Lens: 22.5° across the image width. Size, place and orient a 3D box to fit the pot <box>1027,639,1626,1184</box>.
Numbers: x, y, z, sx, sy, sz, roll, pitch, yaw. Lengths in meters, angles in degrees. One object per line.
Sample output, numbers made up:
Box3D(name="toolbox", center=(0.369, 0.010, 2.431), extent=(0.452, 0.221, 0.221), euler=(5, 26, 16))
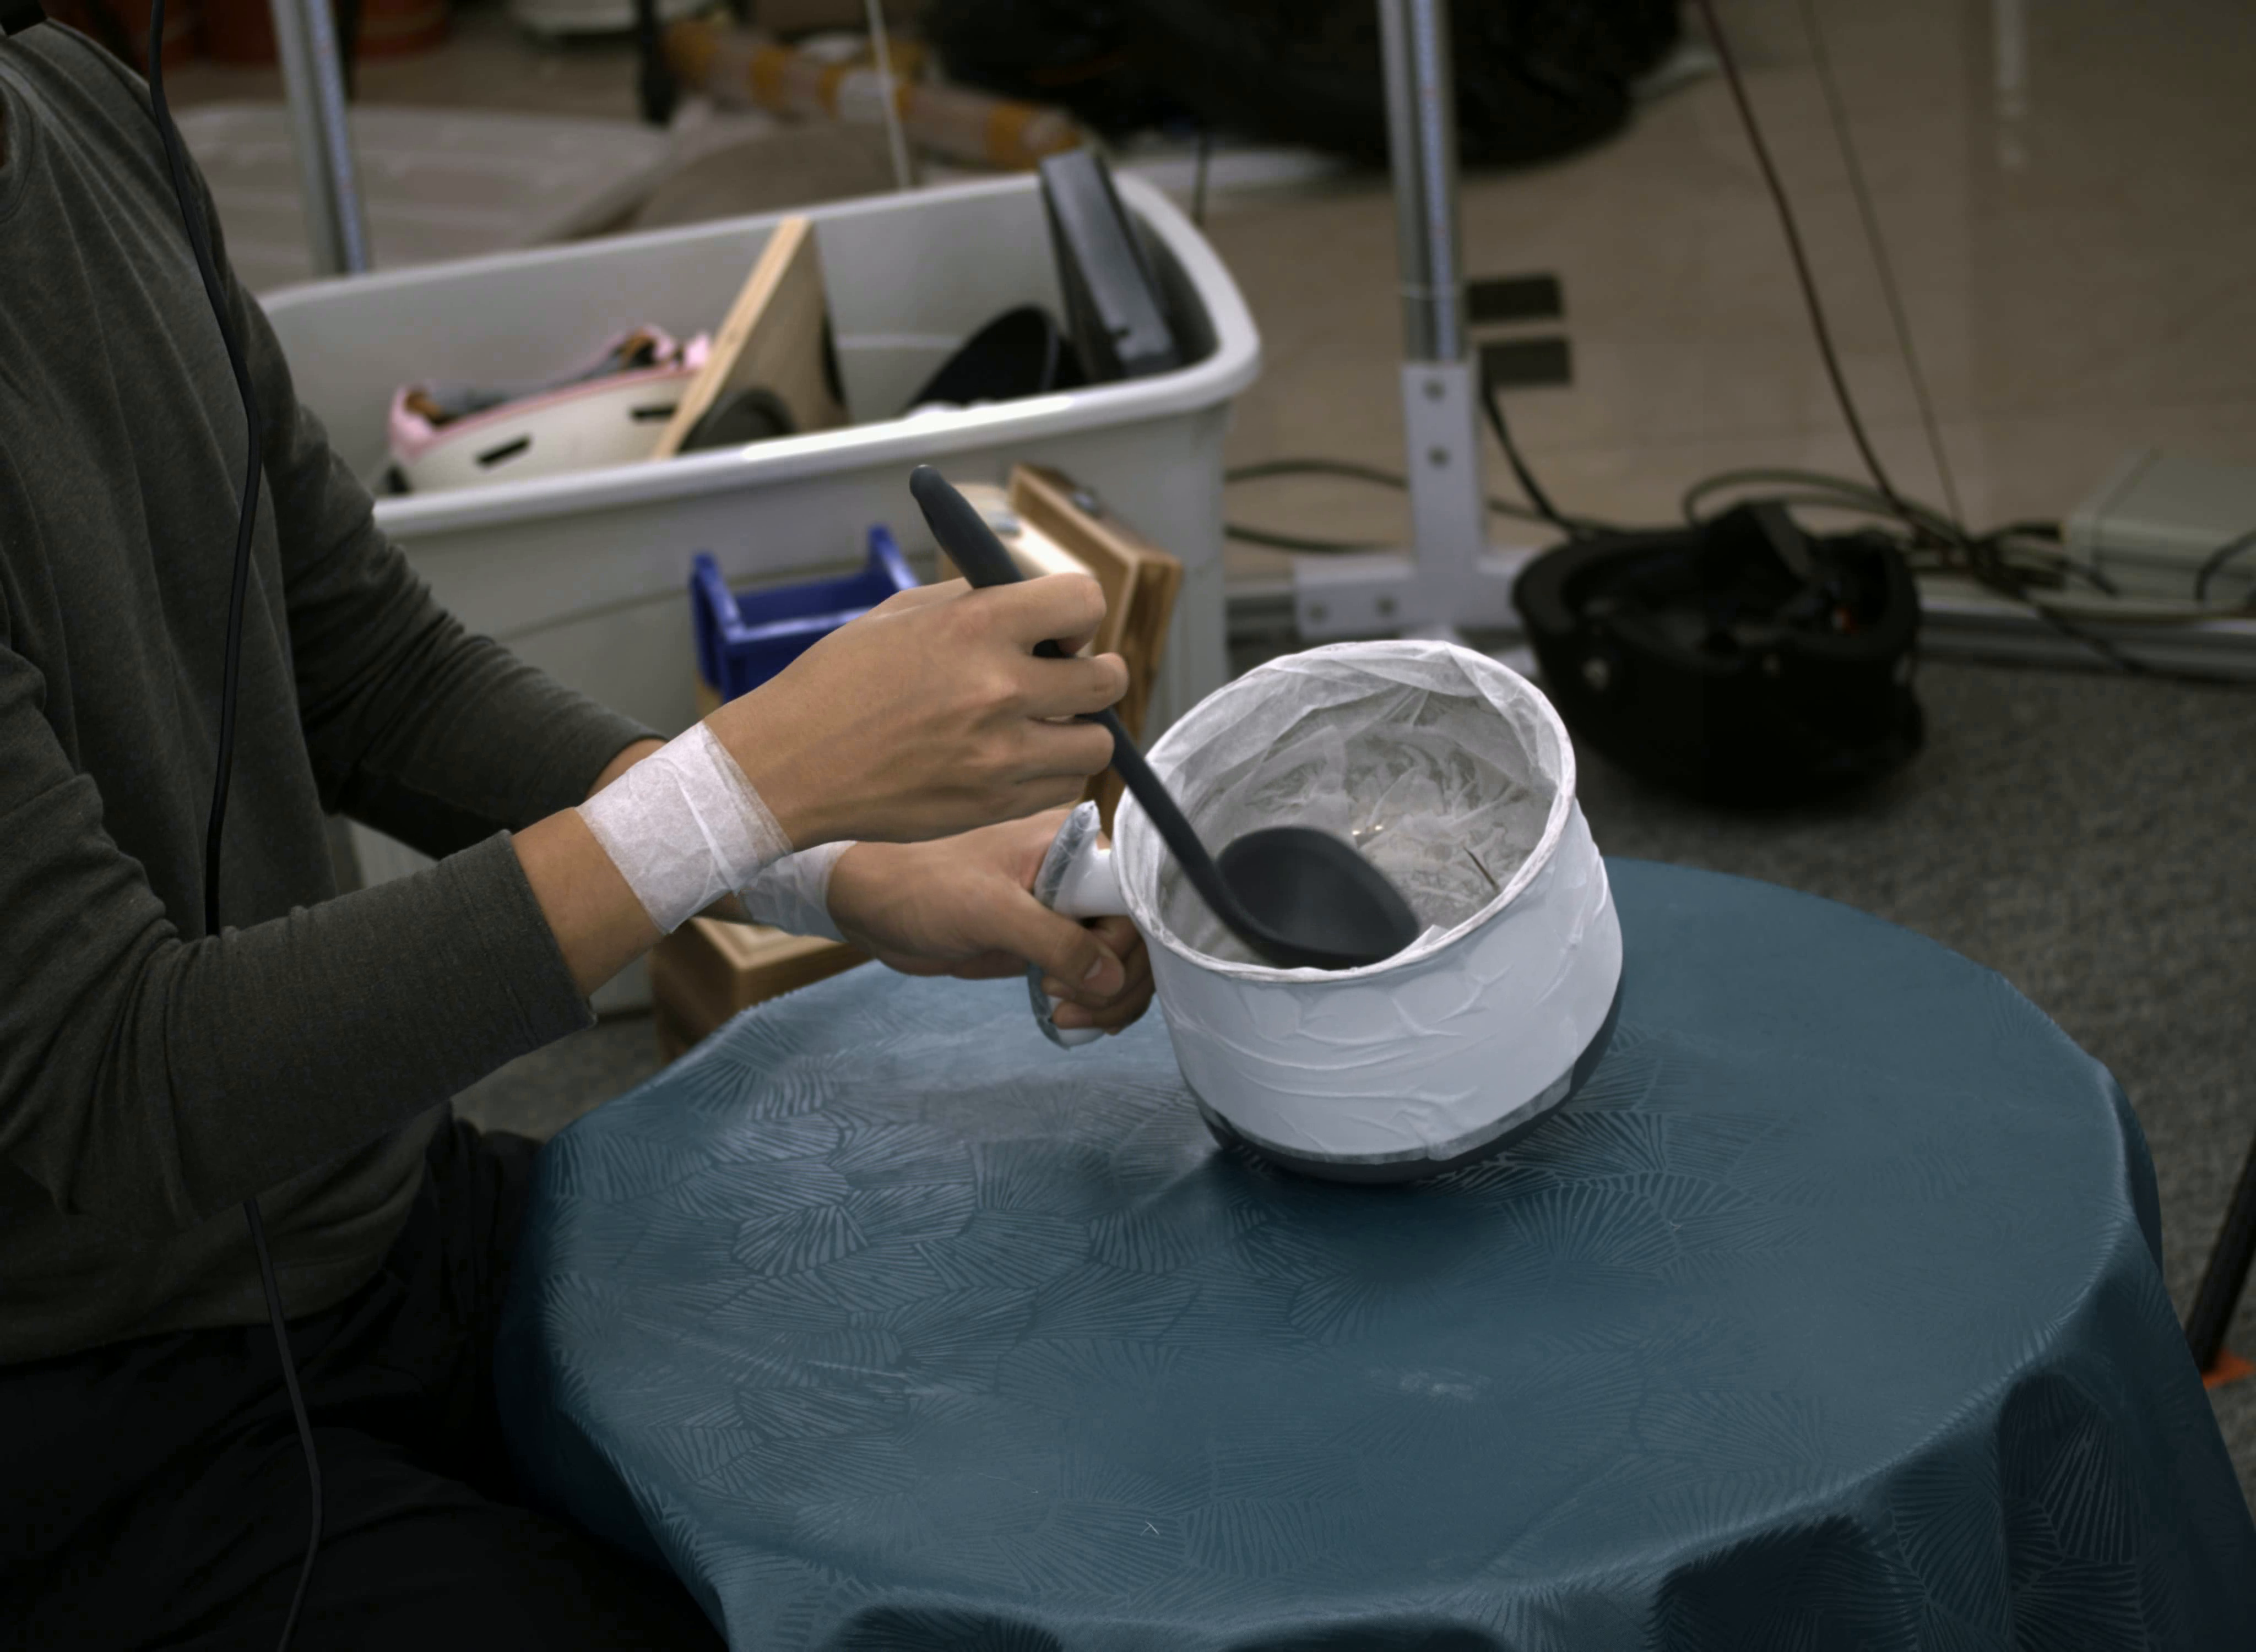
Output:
Box3D(name="pot", center=(0.068, 0.038, 2.149), extent=(0.233, 0.139, 0.175), euler=(-3, 46, 16))

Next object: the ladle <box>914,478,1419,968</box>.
Box3D(name="ladle", center=(0.013, -0.040, 2.038), extent=(0.064, 0.319, 0.085), euler=(-41, 45, -5))
